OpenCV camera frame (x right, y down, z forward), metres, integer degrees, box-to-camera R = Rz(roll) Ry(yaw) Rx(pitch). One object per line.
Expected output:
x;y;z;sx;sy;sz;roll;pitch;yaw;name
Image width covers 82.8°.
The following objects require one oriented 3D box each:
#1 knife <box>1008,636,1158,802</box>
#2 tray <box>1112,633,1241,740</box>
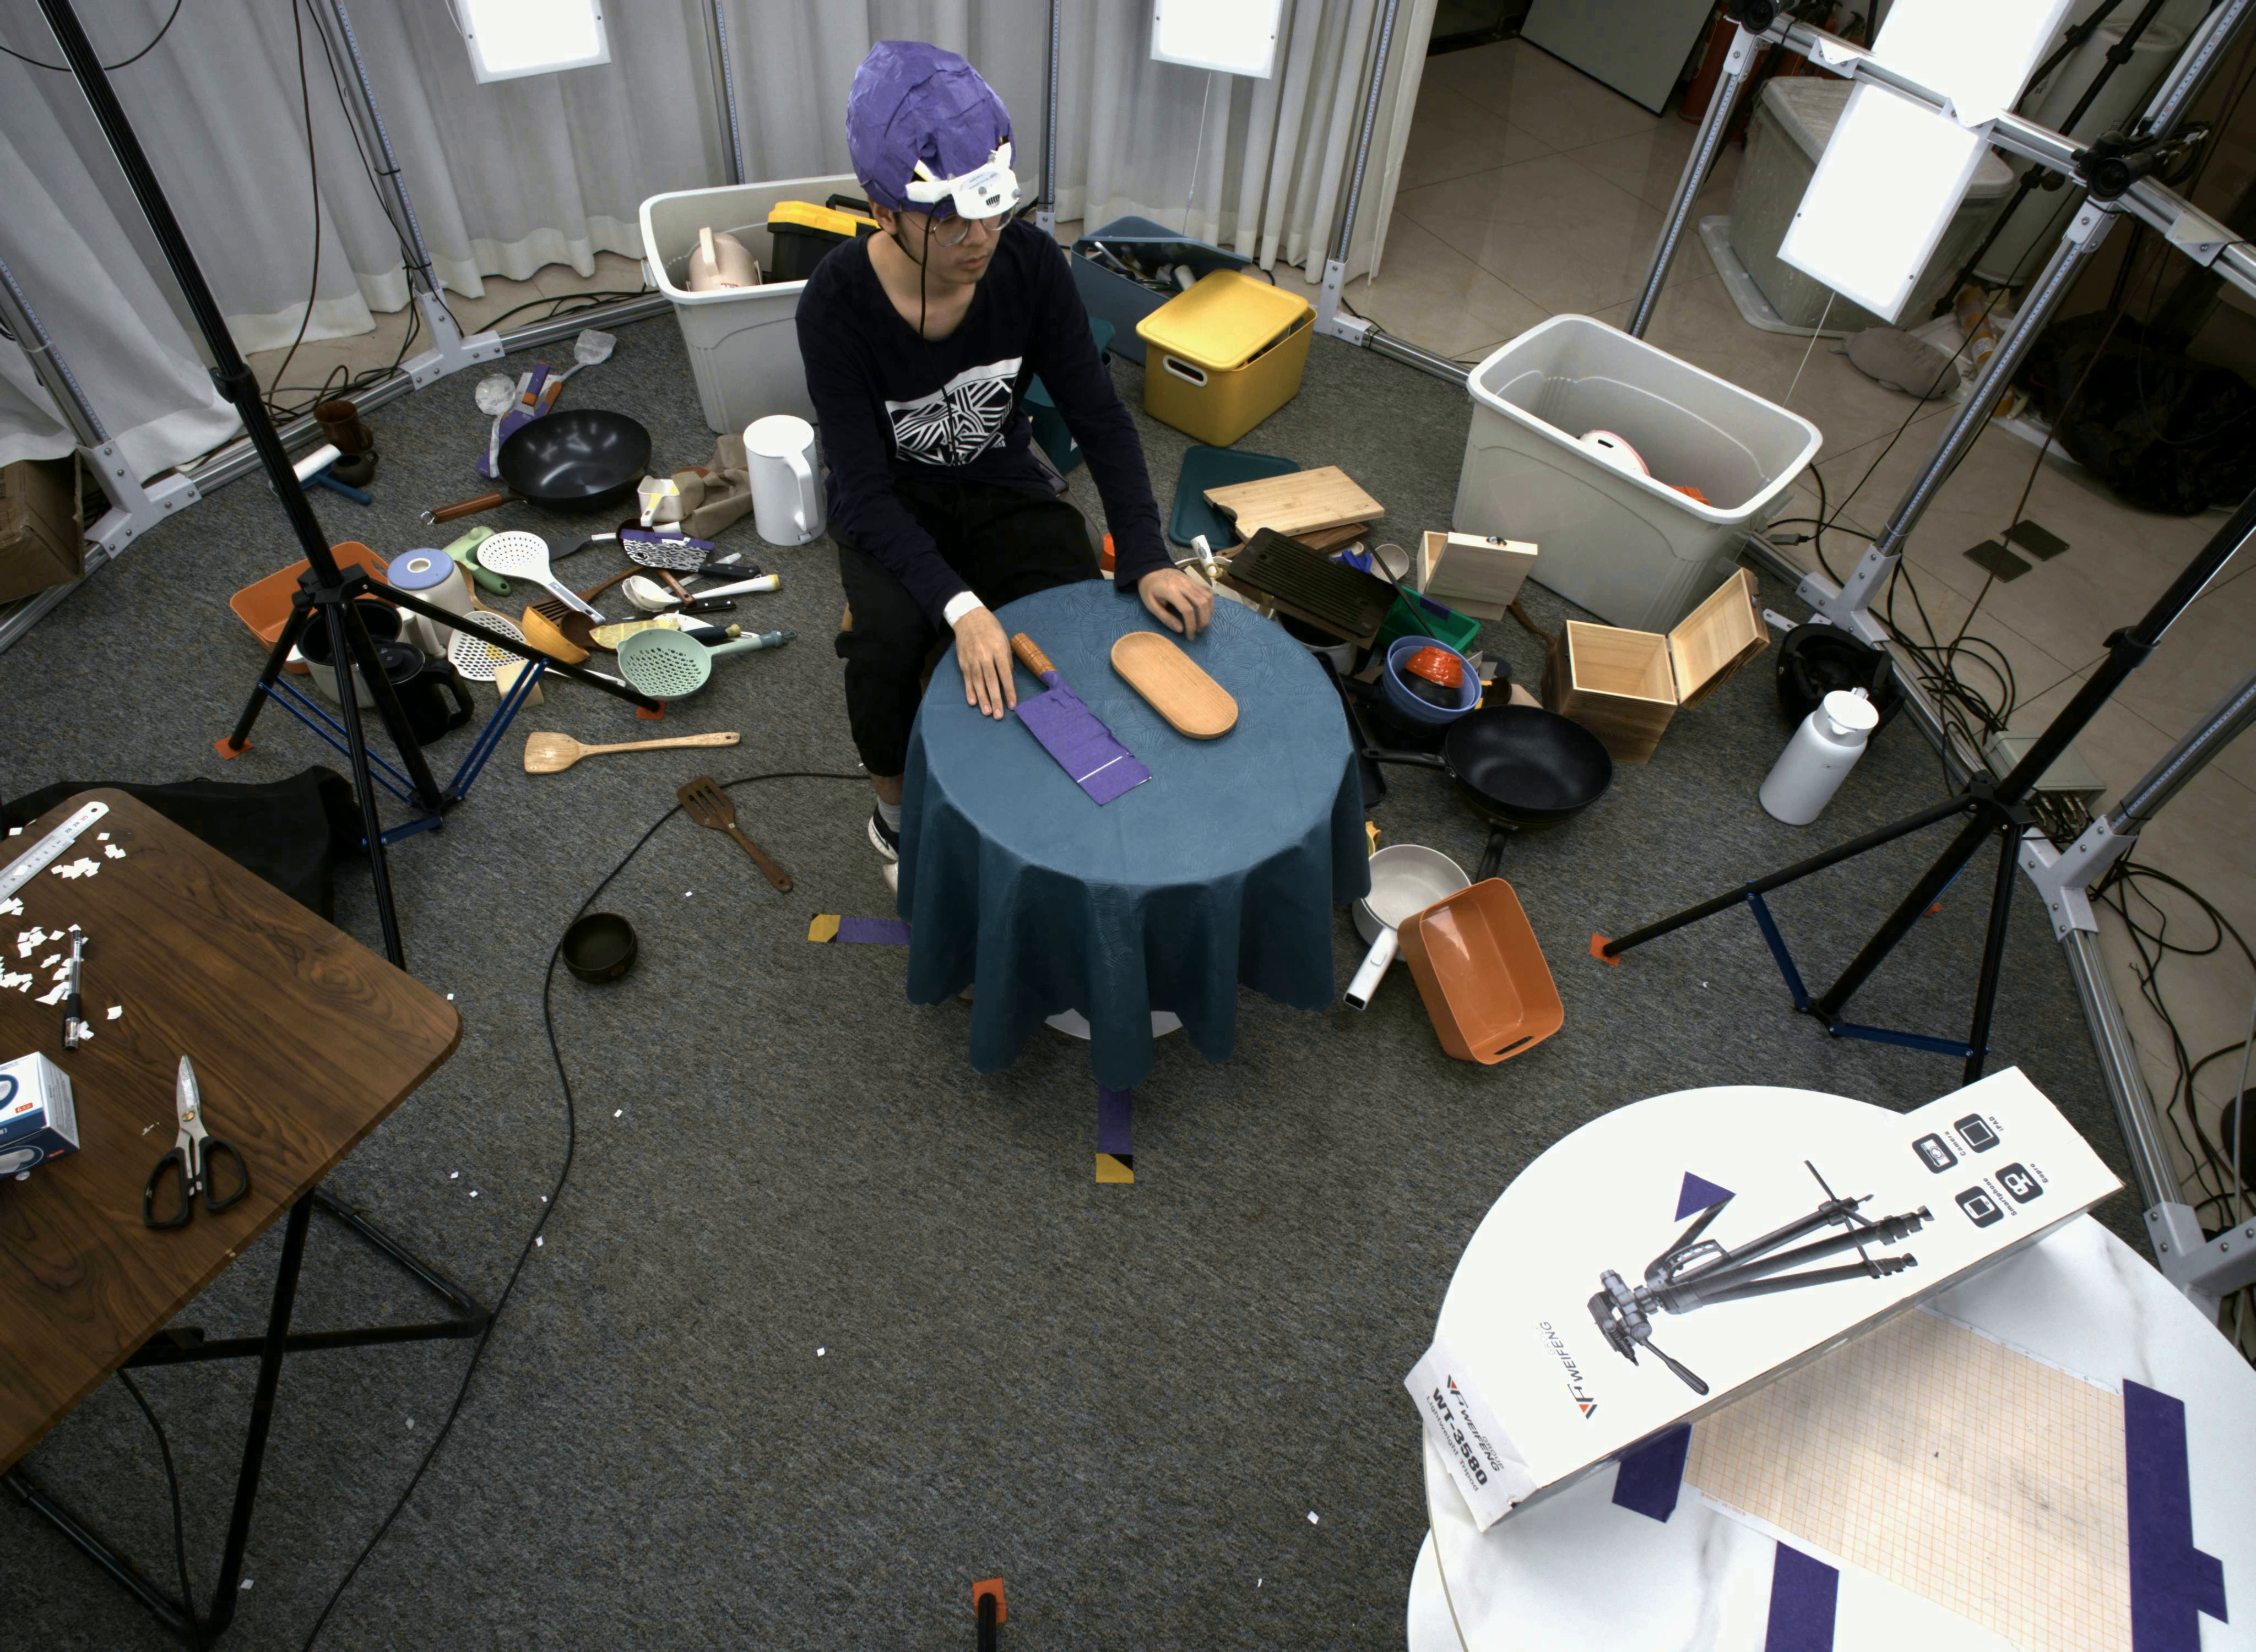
-0.092;-0.153;1.776;0.104;0.031;0.321;-28;57;-25;knife
0.068;-0.201;1.836;0.102;0.020;0.235;-29;58;-25;tray
